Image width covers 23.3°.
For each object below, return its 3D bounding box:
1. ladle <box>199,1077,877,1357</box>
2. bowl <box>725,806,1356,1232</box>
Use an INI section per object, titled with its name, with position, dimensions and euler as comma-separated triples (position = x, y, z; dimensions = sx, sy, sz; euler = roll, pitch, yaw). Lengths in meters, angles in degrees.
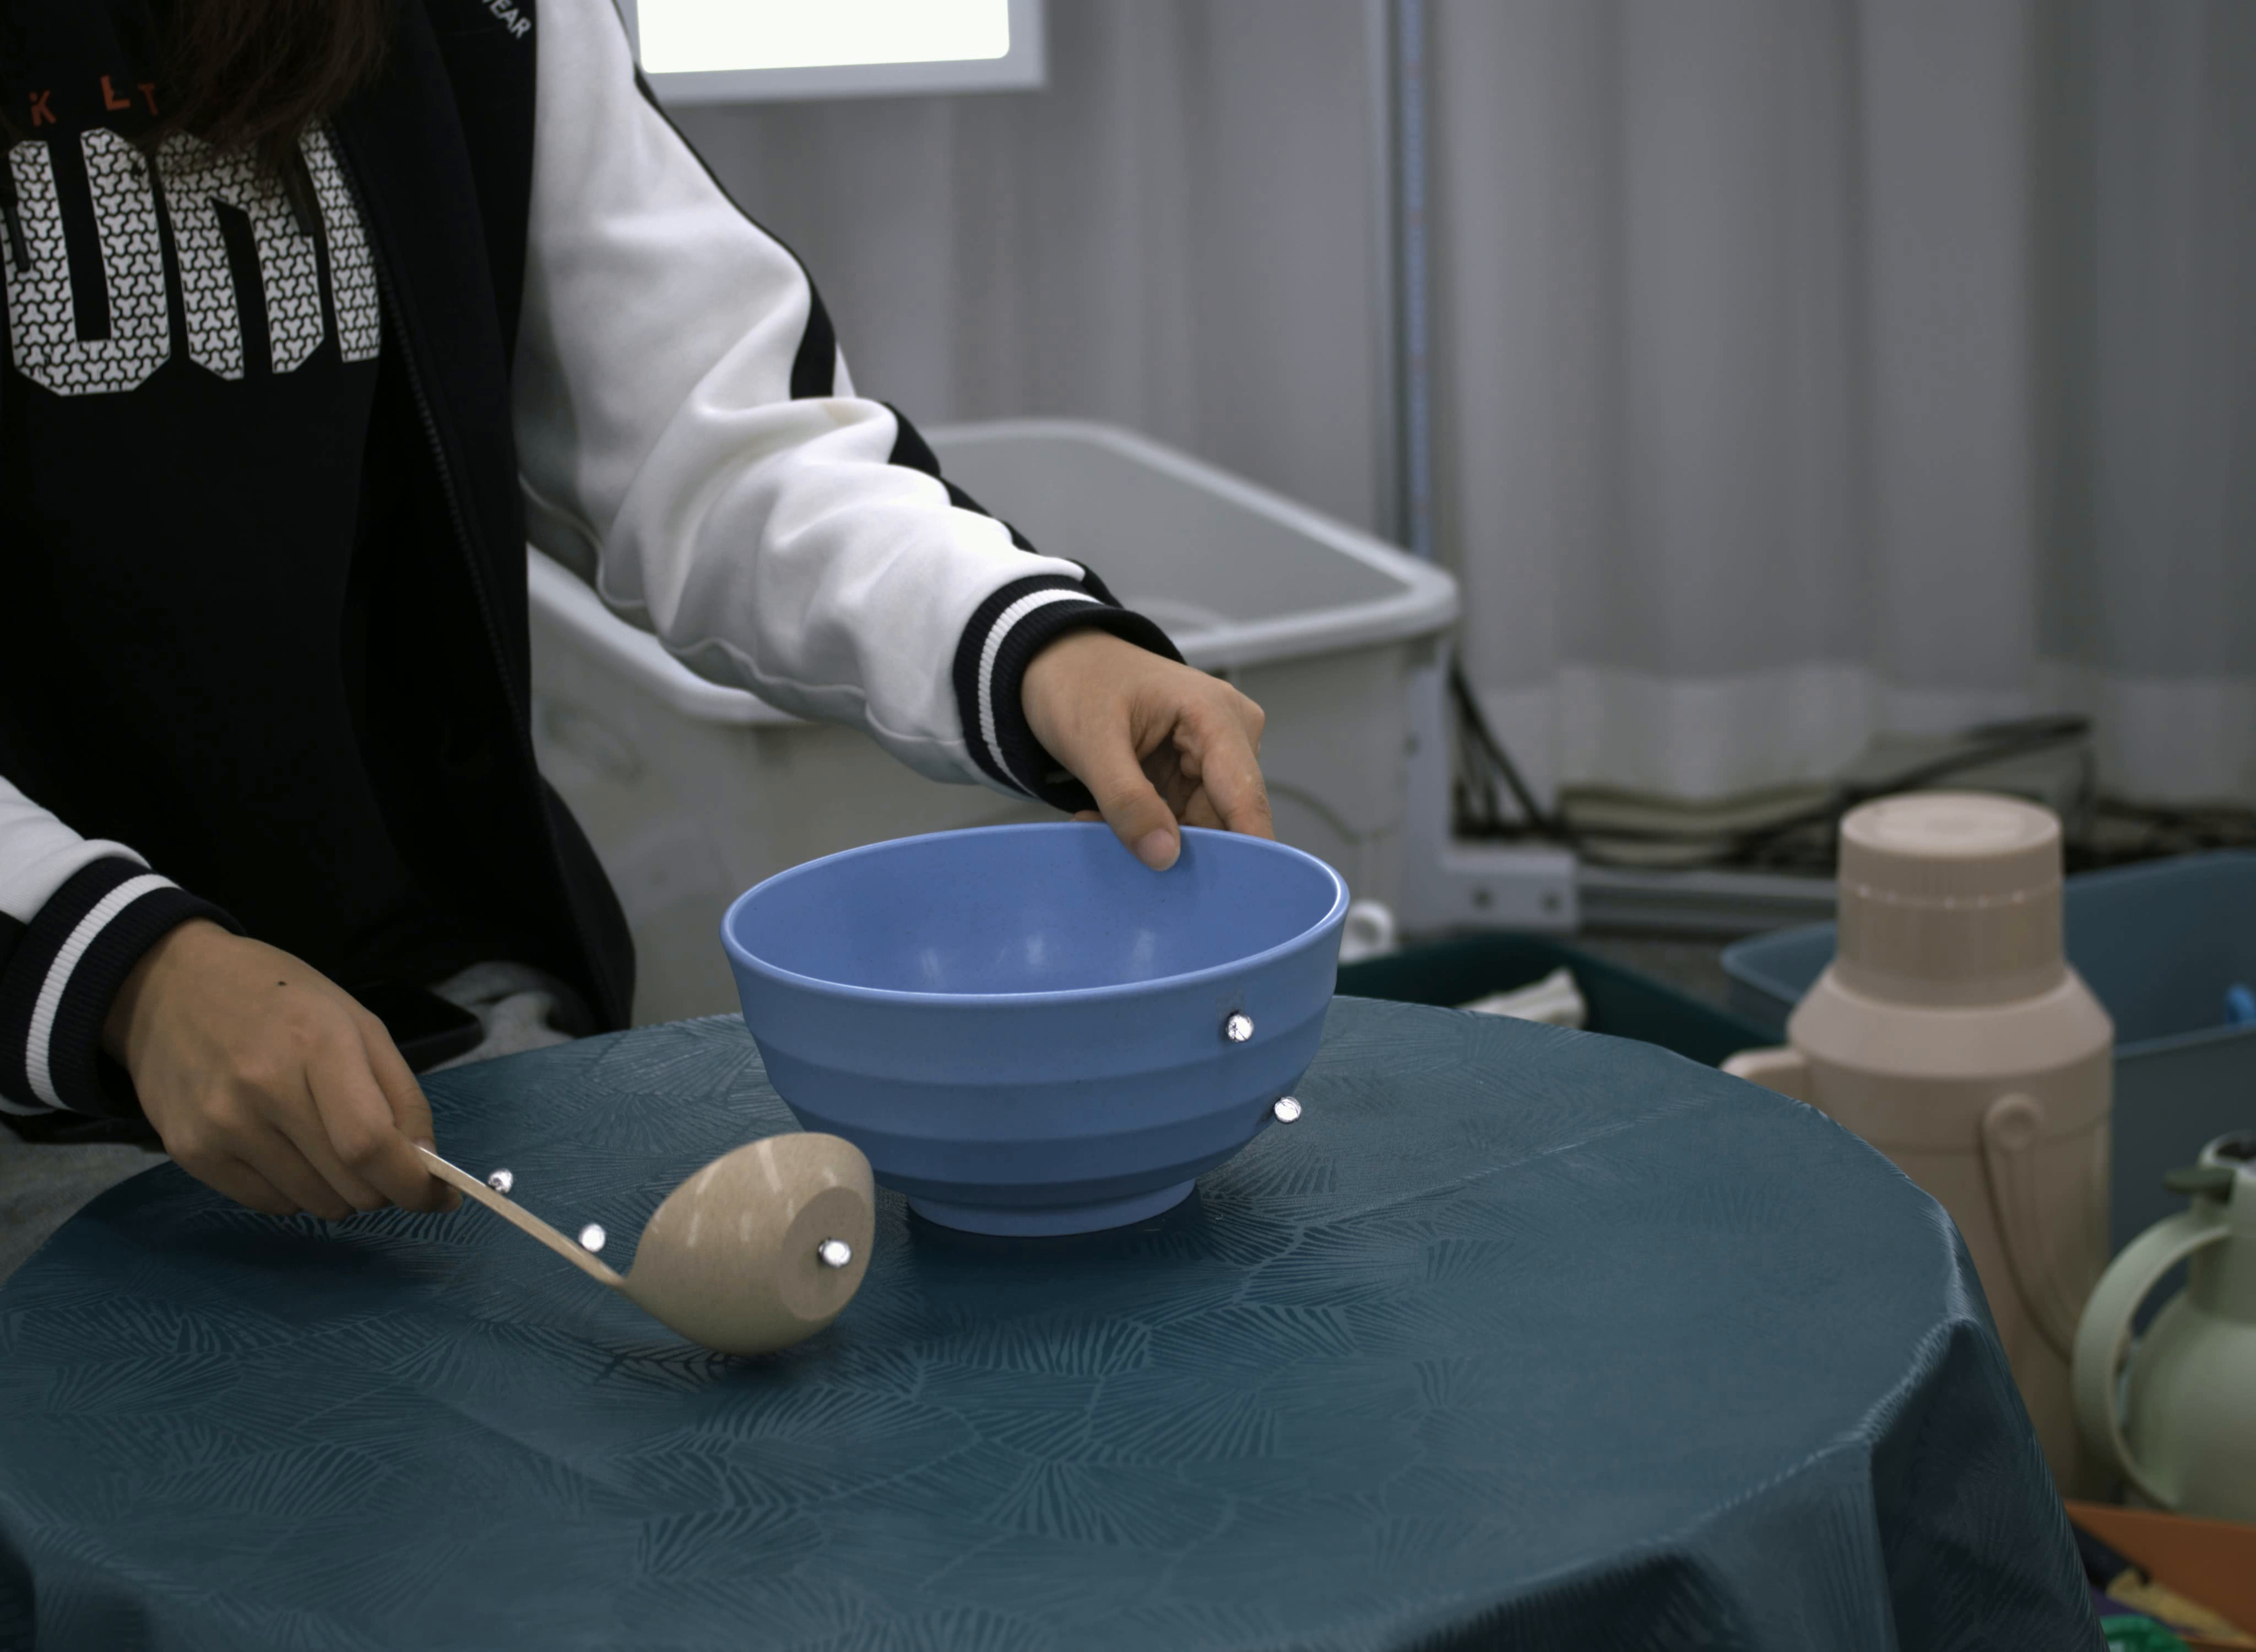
[ladle]
position = -0.179, 0.089, 1.641
dimensions = 0.256, 0.073, 0.071
euler = 22, -12, 38
[bowl]
position = -0.027, 0.067, 1.709
dimensions = 0.196, 0.095, 0.198
euler = 0, 16, 0
